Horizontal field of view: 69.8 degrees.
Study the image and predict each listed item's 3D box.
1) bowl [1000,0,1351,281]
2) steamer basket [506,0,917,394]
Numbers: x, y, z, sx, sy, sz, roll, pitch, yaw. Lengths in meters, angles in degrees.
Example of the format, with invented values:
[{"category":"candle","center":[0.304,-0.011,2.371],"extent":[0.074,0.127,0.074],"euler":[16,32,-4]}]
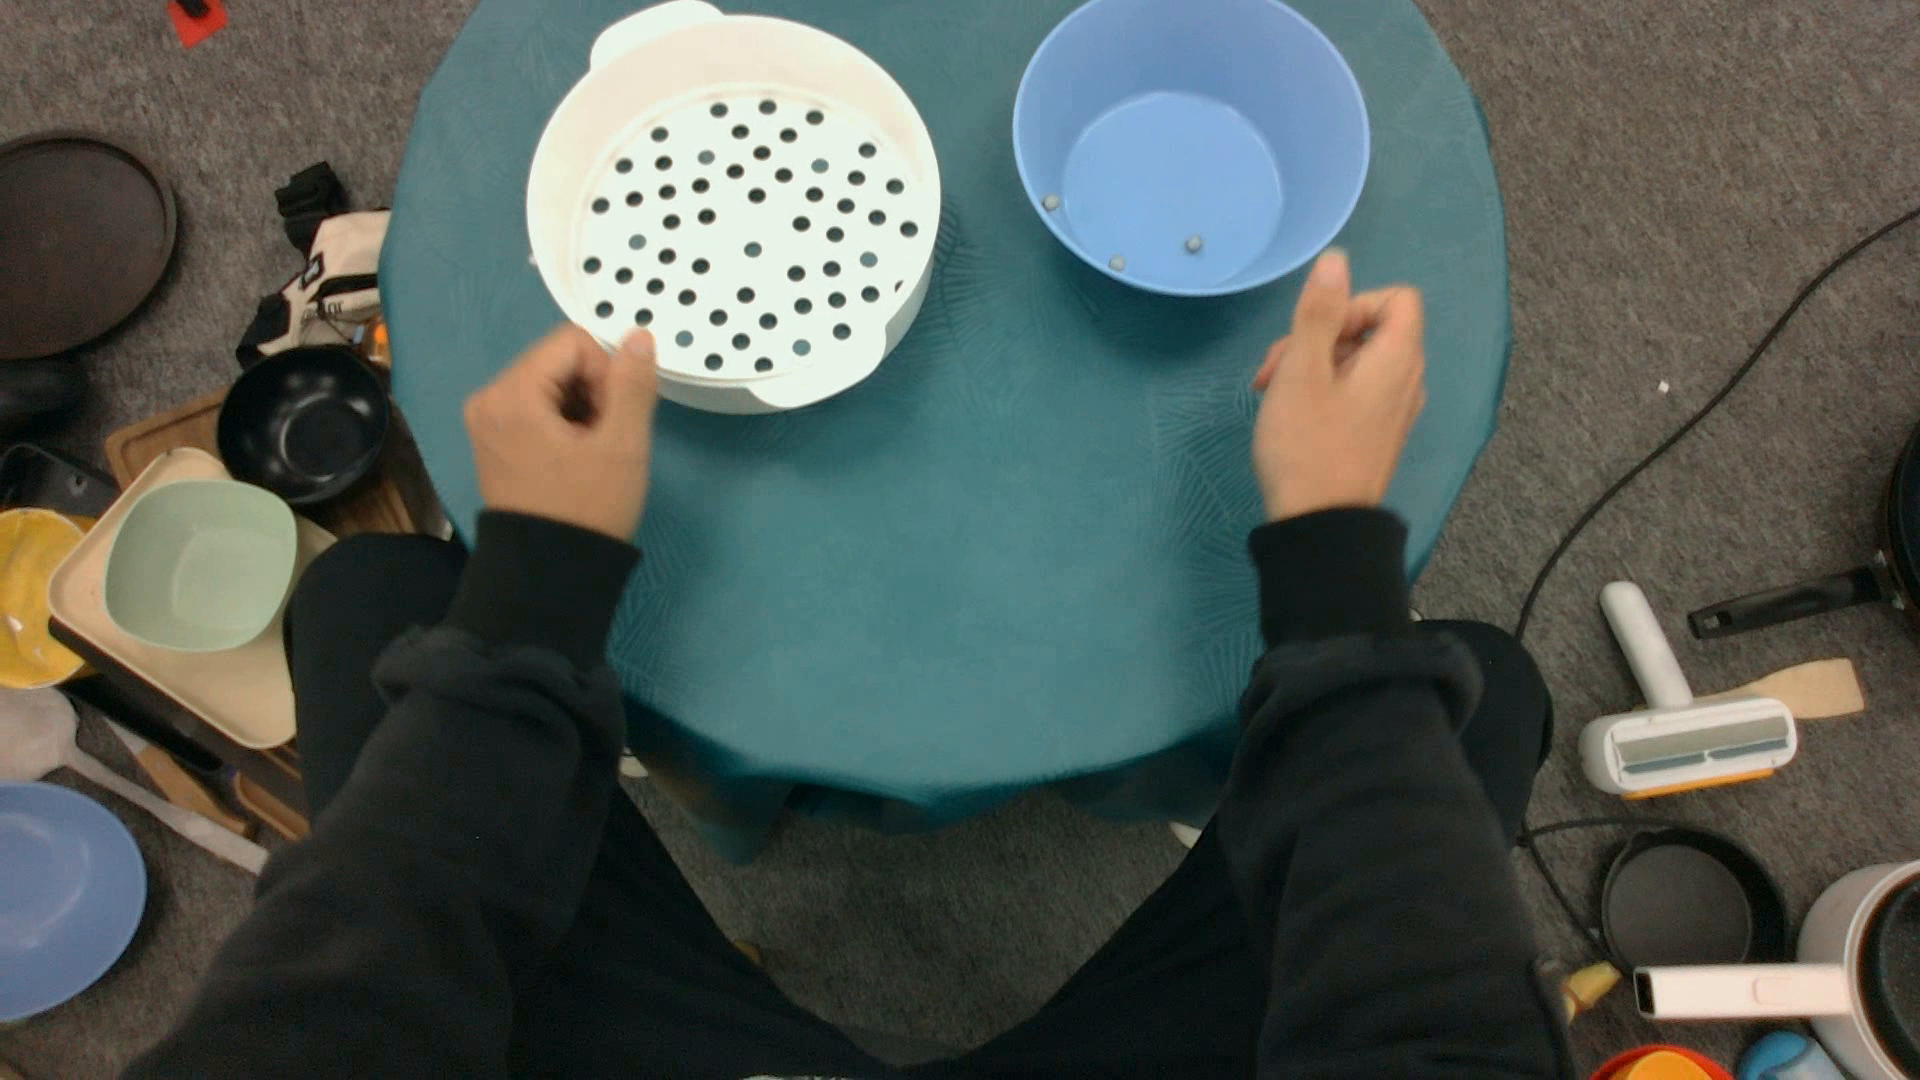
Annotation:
[{"category":"bowl","center":[0.108,-0.204,0.715],"extent":[0.176,0.070,0.176],"euler":[0,76,0]},{"category":"steamer basket","center":[-0.122,-0.173,0.702],"extent":[0.202,0.069,0.231],"euler":[-26,76,-8]}]
